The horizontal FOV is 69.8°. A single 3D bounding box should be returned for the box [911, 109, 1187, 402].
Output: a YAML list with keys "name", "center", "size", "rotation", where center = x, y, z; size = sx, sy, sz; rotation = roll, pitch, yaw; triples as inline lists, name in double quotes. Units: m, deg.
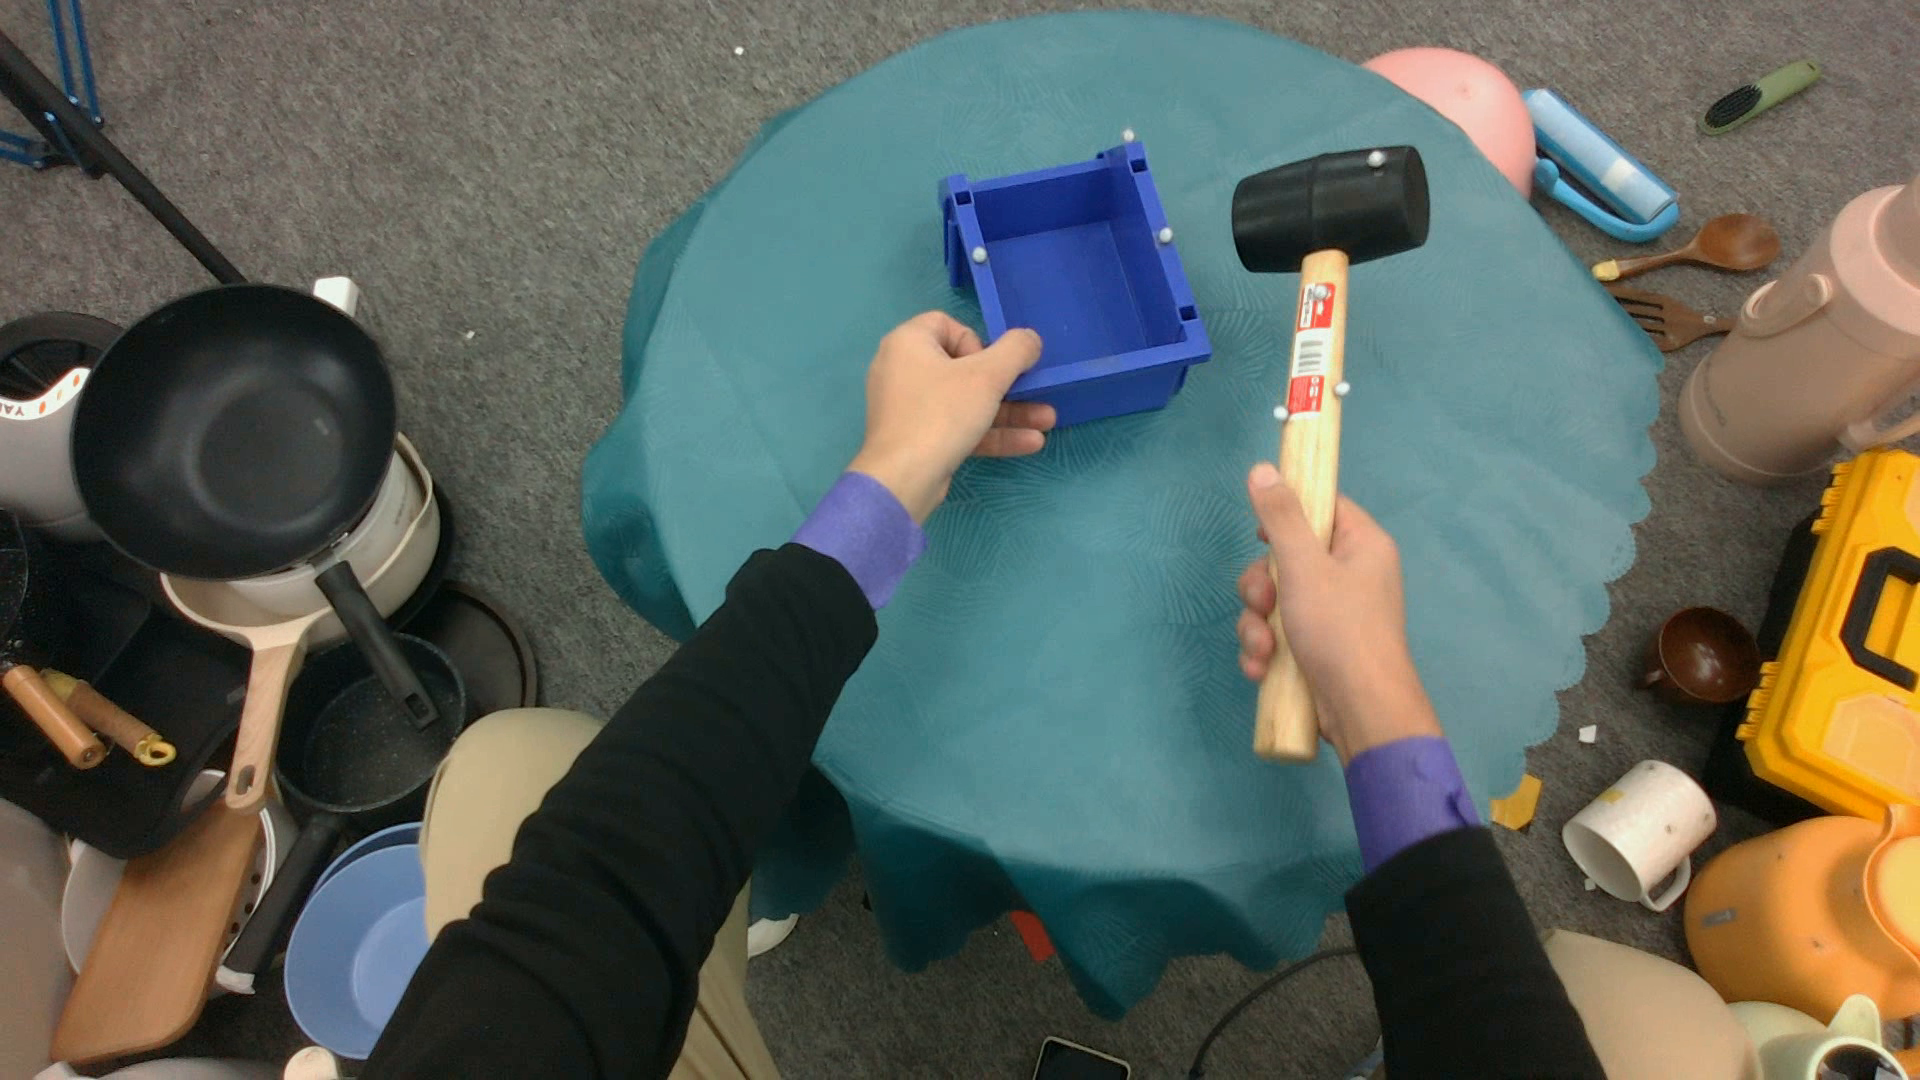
- name: "box"
  center: [0.046, -0.177, 0.831]
  size: [0.124, 0.081, 0.180]
  rotation: [-12, 71, -6]

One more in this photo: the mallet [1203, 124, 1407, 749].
- name: "mallet"
  center: [0.169, -0.062, 0.727]
  size: [0.101, 0.064, 0.340]
  rotation: [-4, 69, 40]
